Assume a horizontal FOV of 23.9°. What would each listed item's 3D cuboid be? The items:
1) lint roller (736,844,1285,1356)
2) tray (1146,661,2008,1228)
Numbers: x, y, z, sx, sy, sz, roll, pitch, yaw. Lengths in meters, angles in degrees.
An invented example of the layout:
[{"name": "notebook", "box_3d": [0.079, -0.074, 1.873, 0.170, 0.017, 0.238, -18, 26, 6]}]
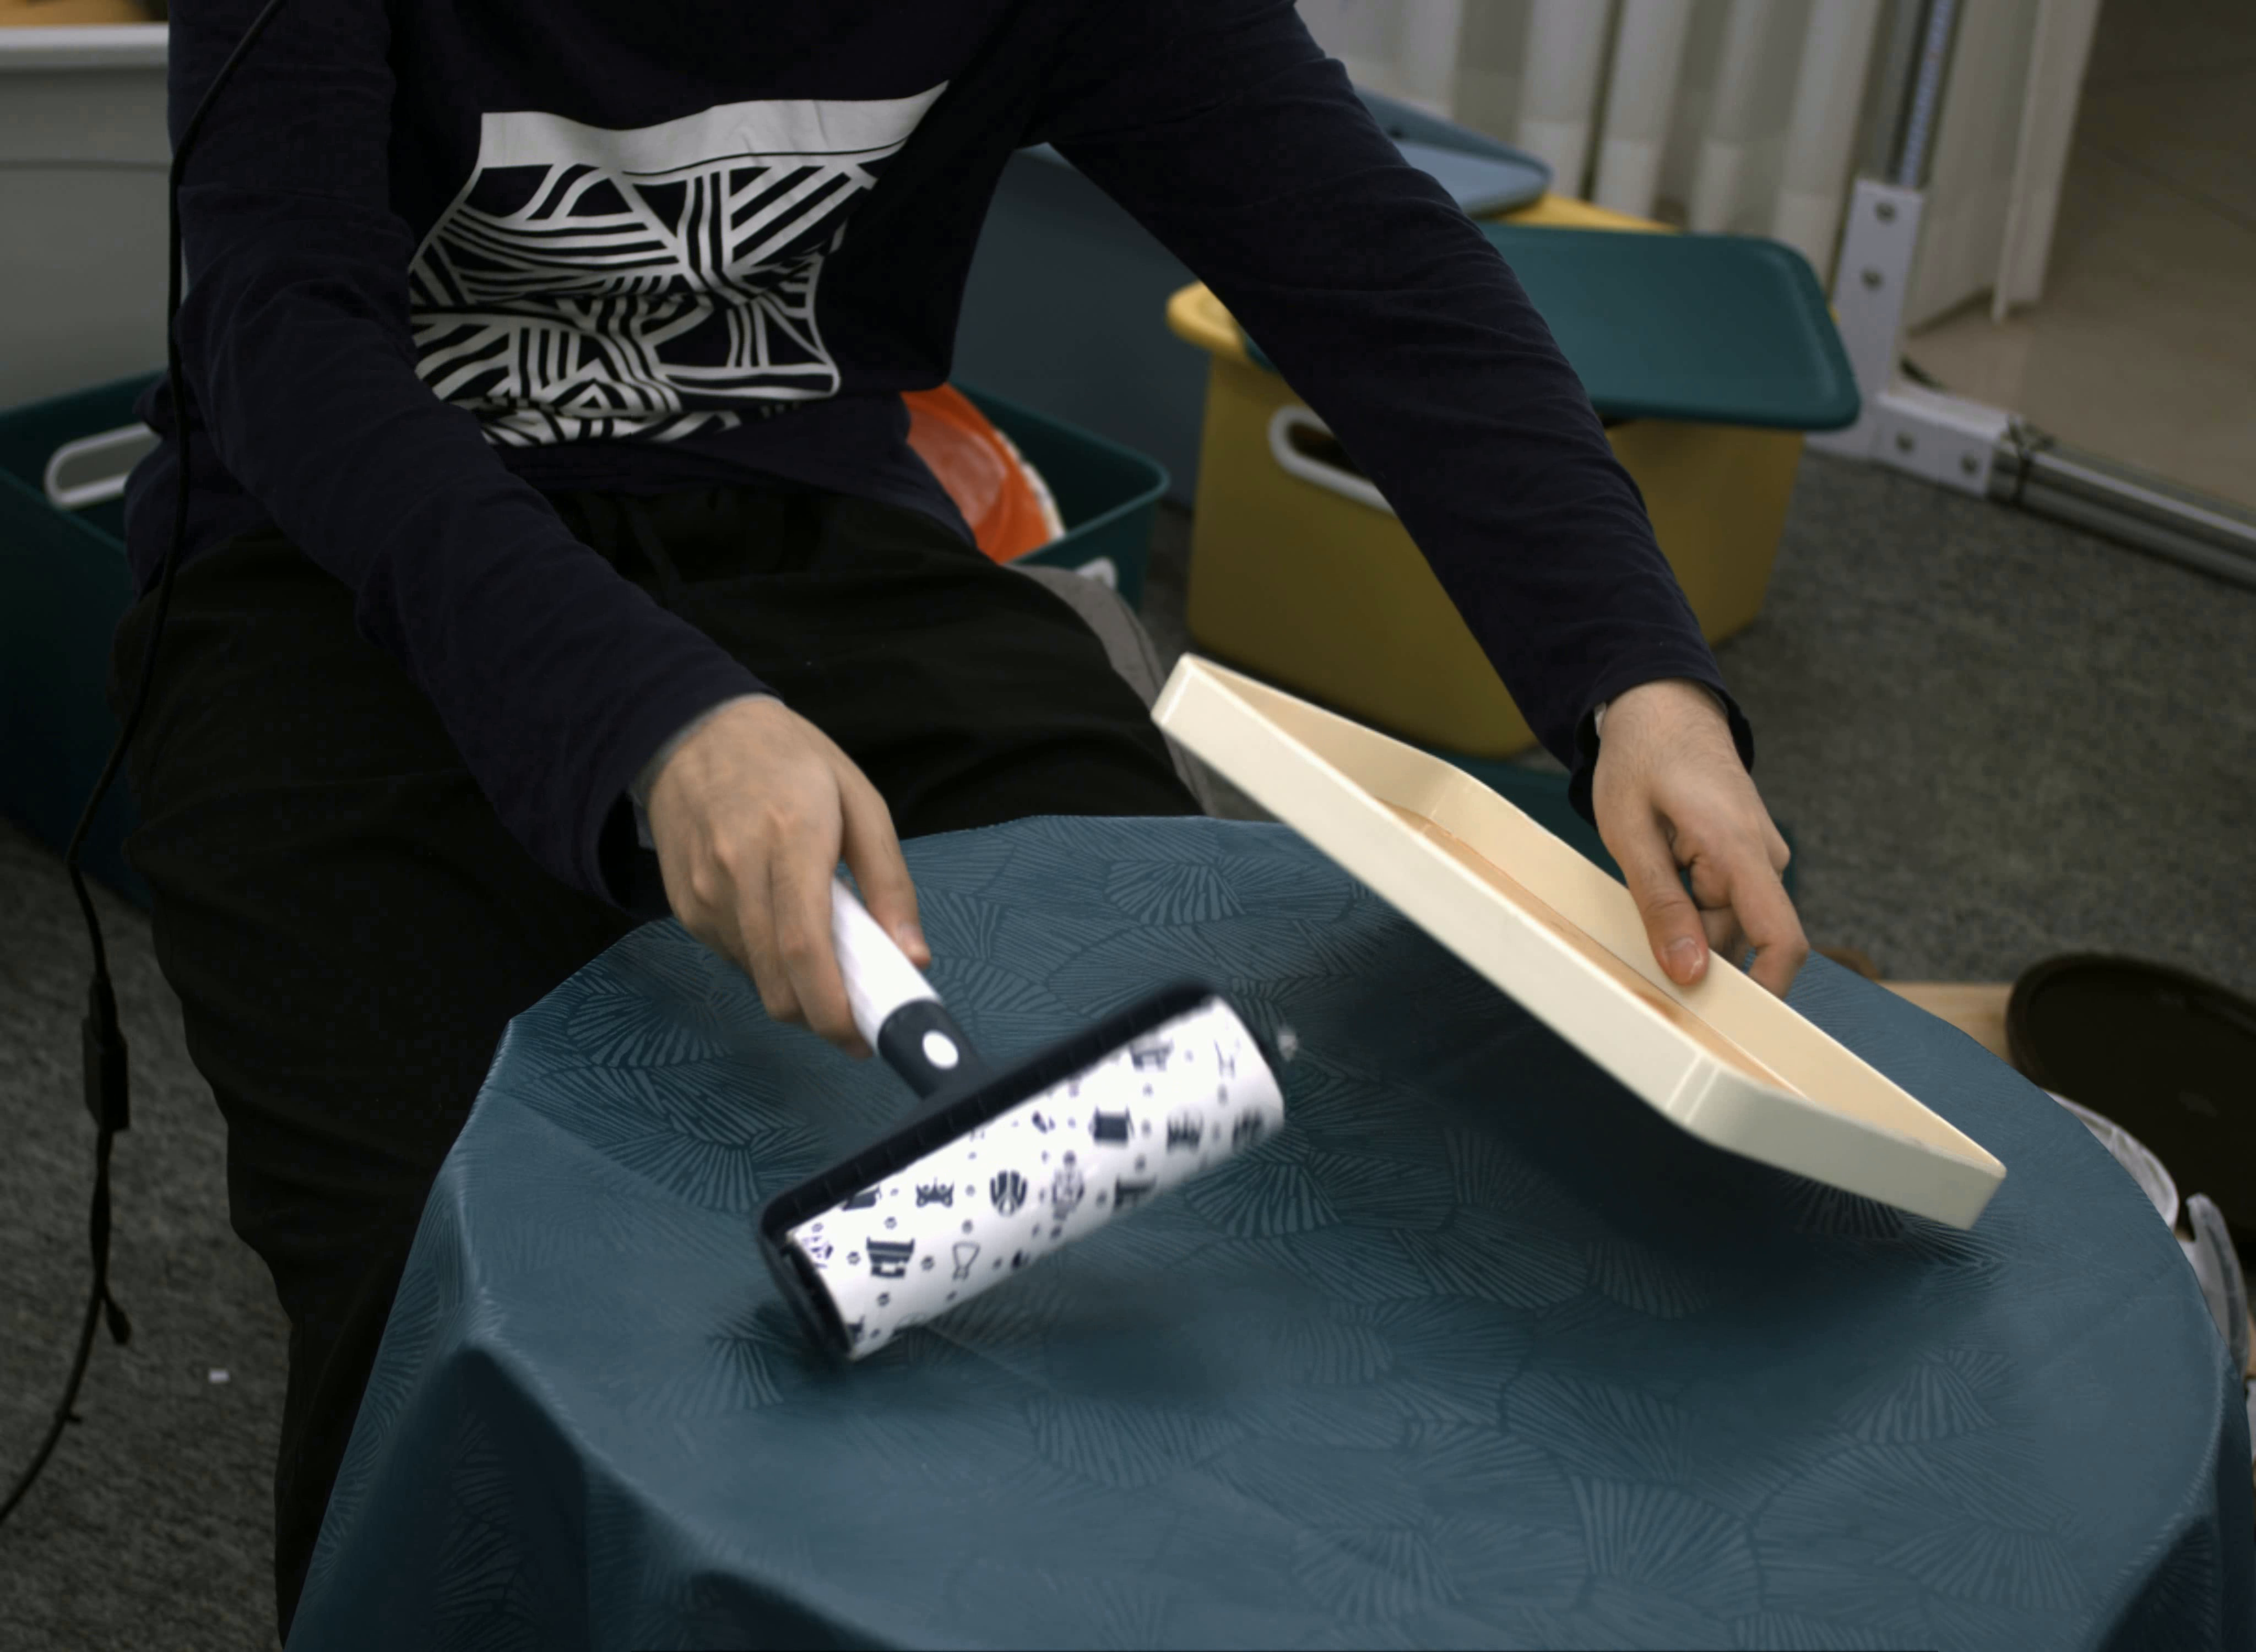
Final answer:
[{"name": "lint roller", "box_3d": [-0.079, 0.067, 1.780, 0.176, 0.050, 0.249, -26, 39, -15]}, {"name": "tray", "box_3d": [0.153, 0.040, 1.850, 0.190, 0.027, 0.303, 19, 15, -48]}]
